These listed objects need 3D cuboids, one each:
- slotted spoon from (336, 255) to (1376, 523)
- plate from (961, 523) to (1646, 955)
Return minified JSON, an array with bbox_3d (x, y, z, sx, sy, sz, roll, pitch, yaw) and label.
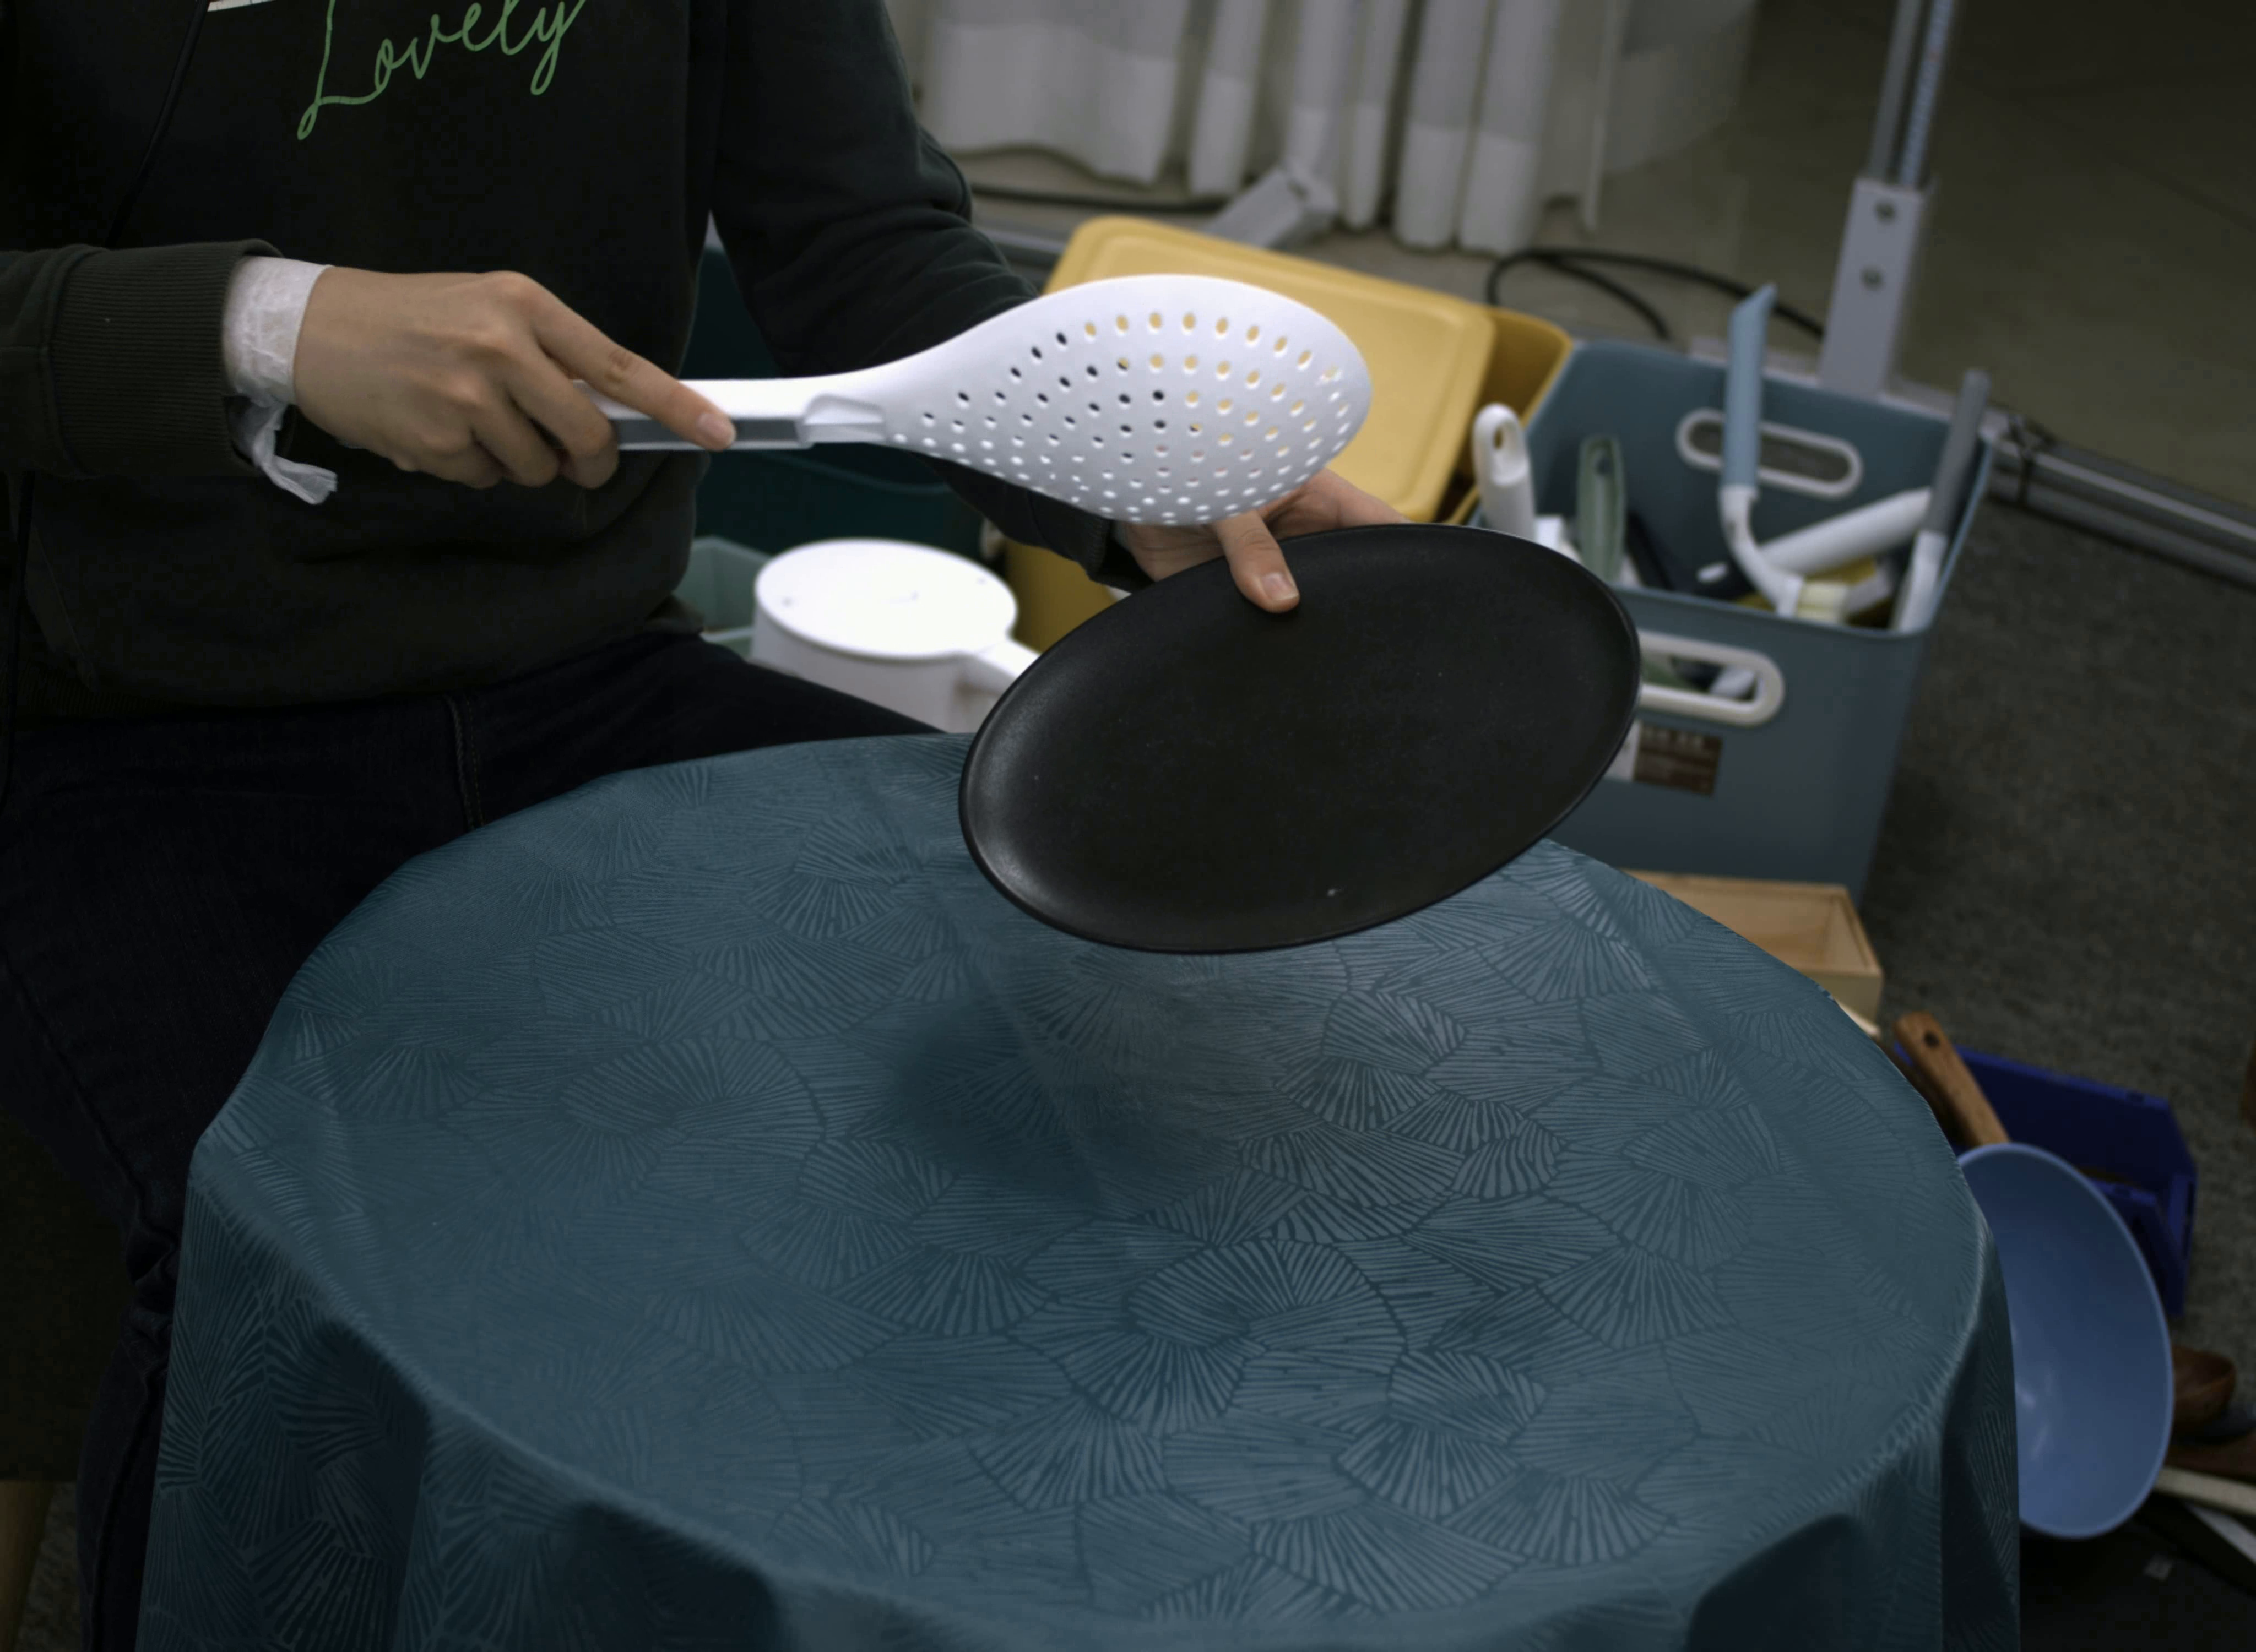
[{"bbox_3d":[-0.093,-0.140,1.780,0.349,0.135,0.046,3,59,9],"label":"slotted spoon"},{"bbox_3d":[0.061,-0.026,1.835,0.244,0.023,0.246,-13,34,8],"label":"plate"}]
